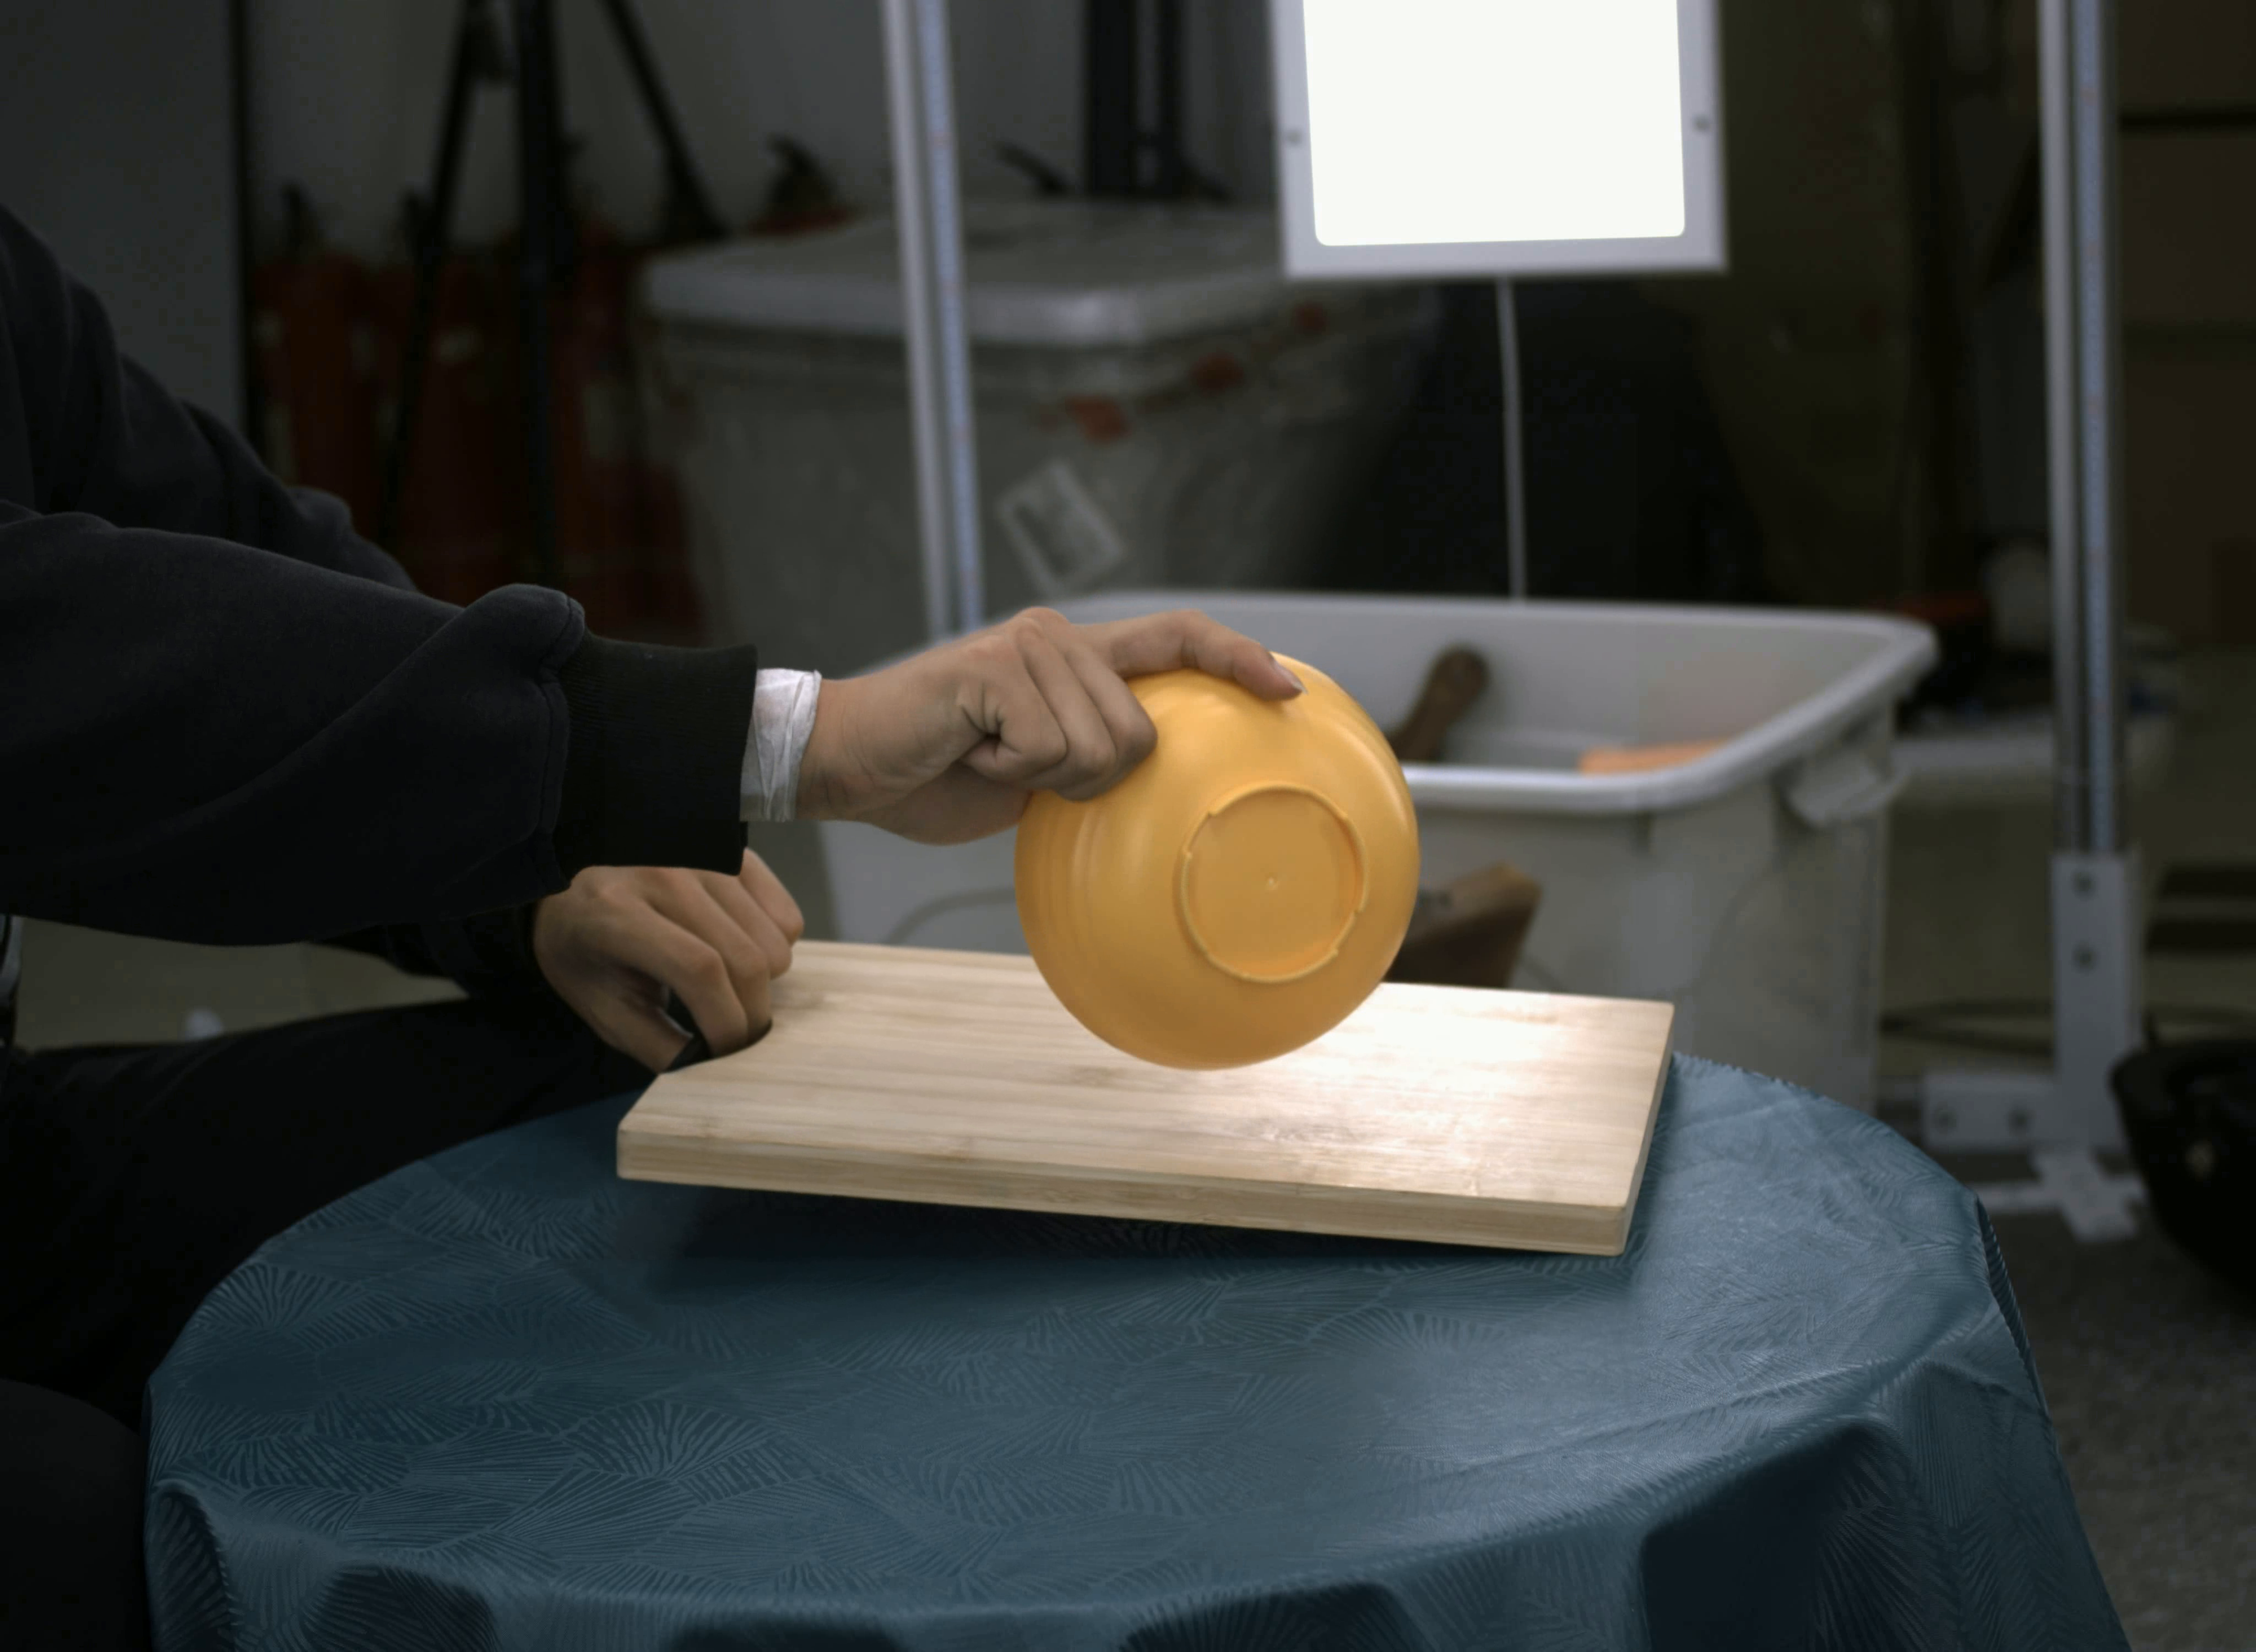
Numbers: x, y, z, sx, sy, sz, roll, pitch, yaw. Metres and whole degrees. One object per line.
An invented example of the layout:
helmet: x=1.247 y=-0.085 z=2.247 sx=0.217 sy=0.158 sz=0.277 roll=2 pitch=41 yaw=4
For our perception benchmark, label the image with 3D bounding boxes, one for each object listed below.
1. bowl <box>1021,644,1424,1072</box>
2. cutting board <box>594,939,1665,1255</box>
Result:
bowl: x=0.042 y=0.014 z=1.819 sx=0.143 sy=0.146 sz=0.061 roll=-9 pitch=11 yaw=-18
cutting board: x=0.009 y=0.092 z=1.931 sx=0.350 sy=0.024 sz=0.248 roll=3 pitch=15 yaw=9
